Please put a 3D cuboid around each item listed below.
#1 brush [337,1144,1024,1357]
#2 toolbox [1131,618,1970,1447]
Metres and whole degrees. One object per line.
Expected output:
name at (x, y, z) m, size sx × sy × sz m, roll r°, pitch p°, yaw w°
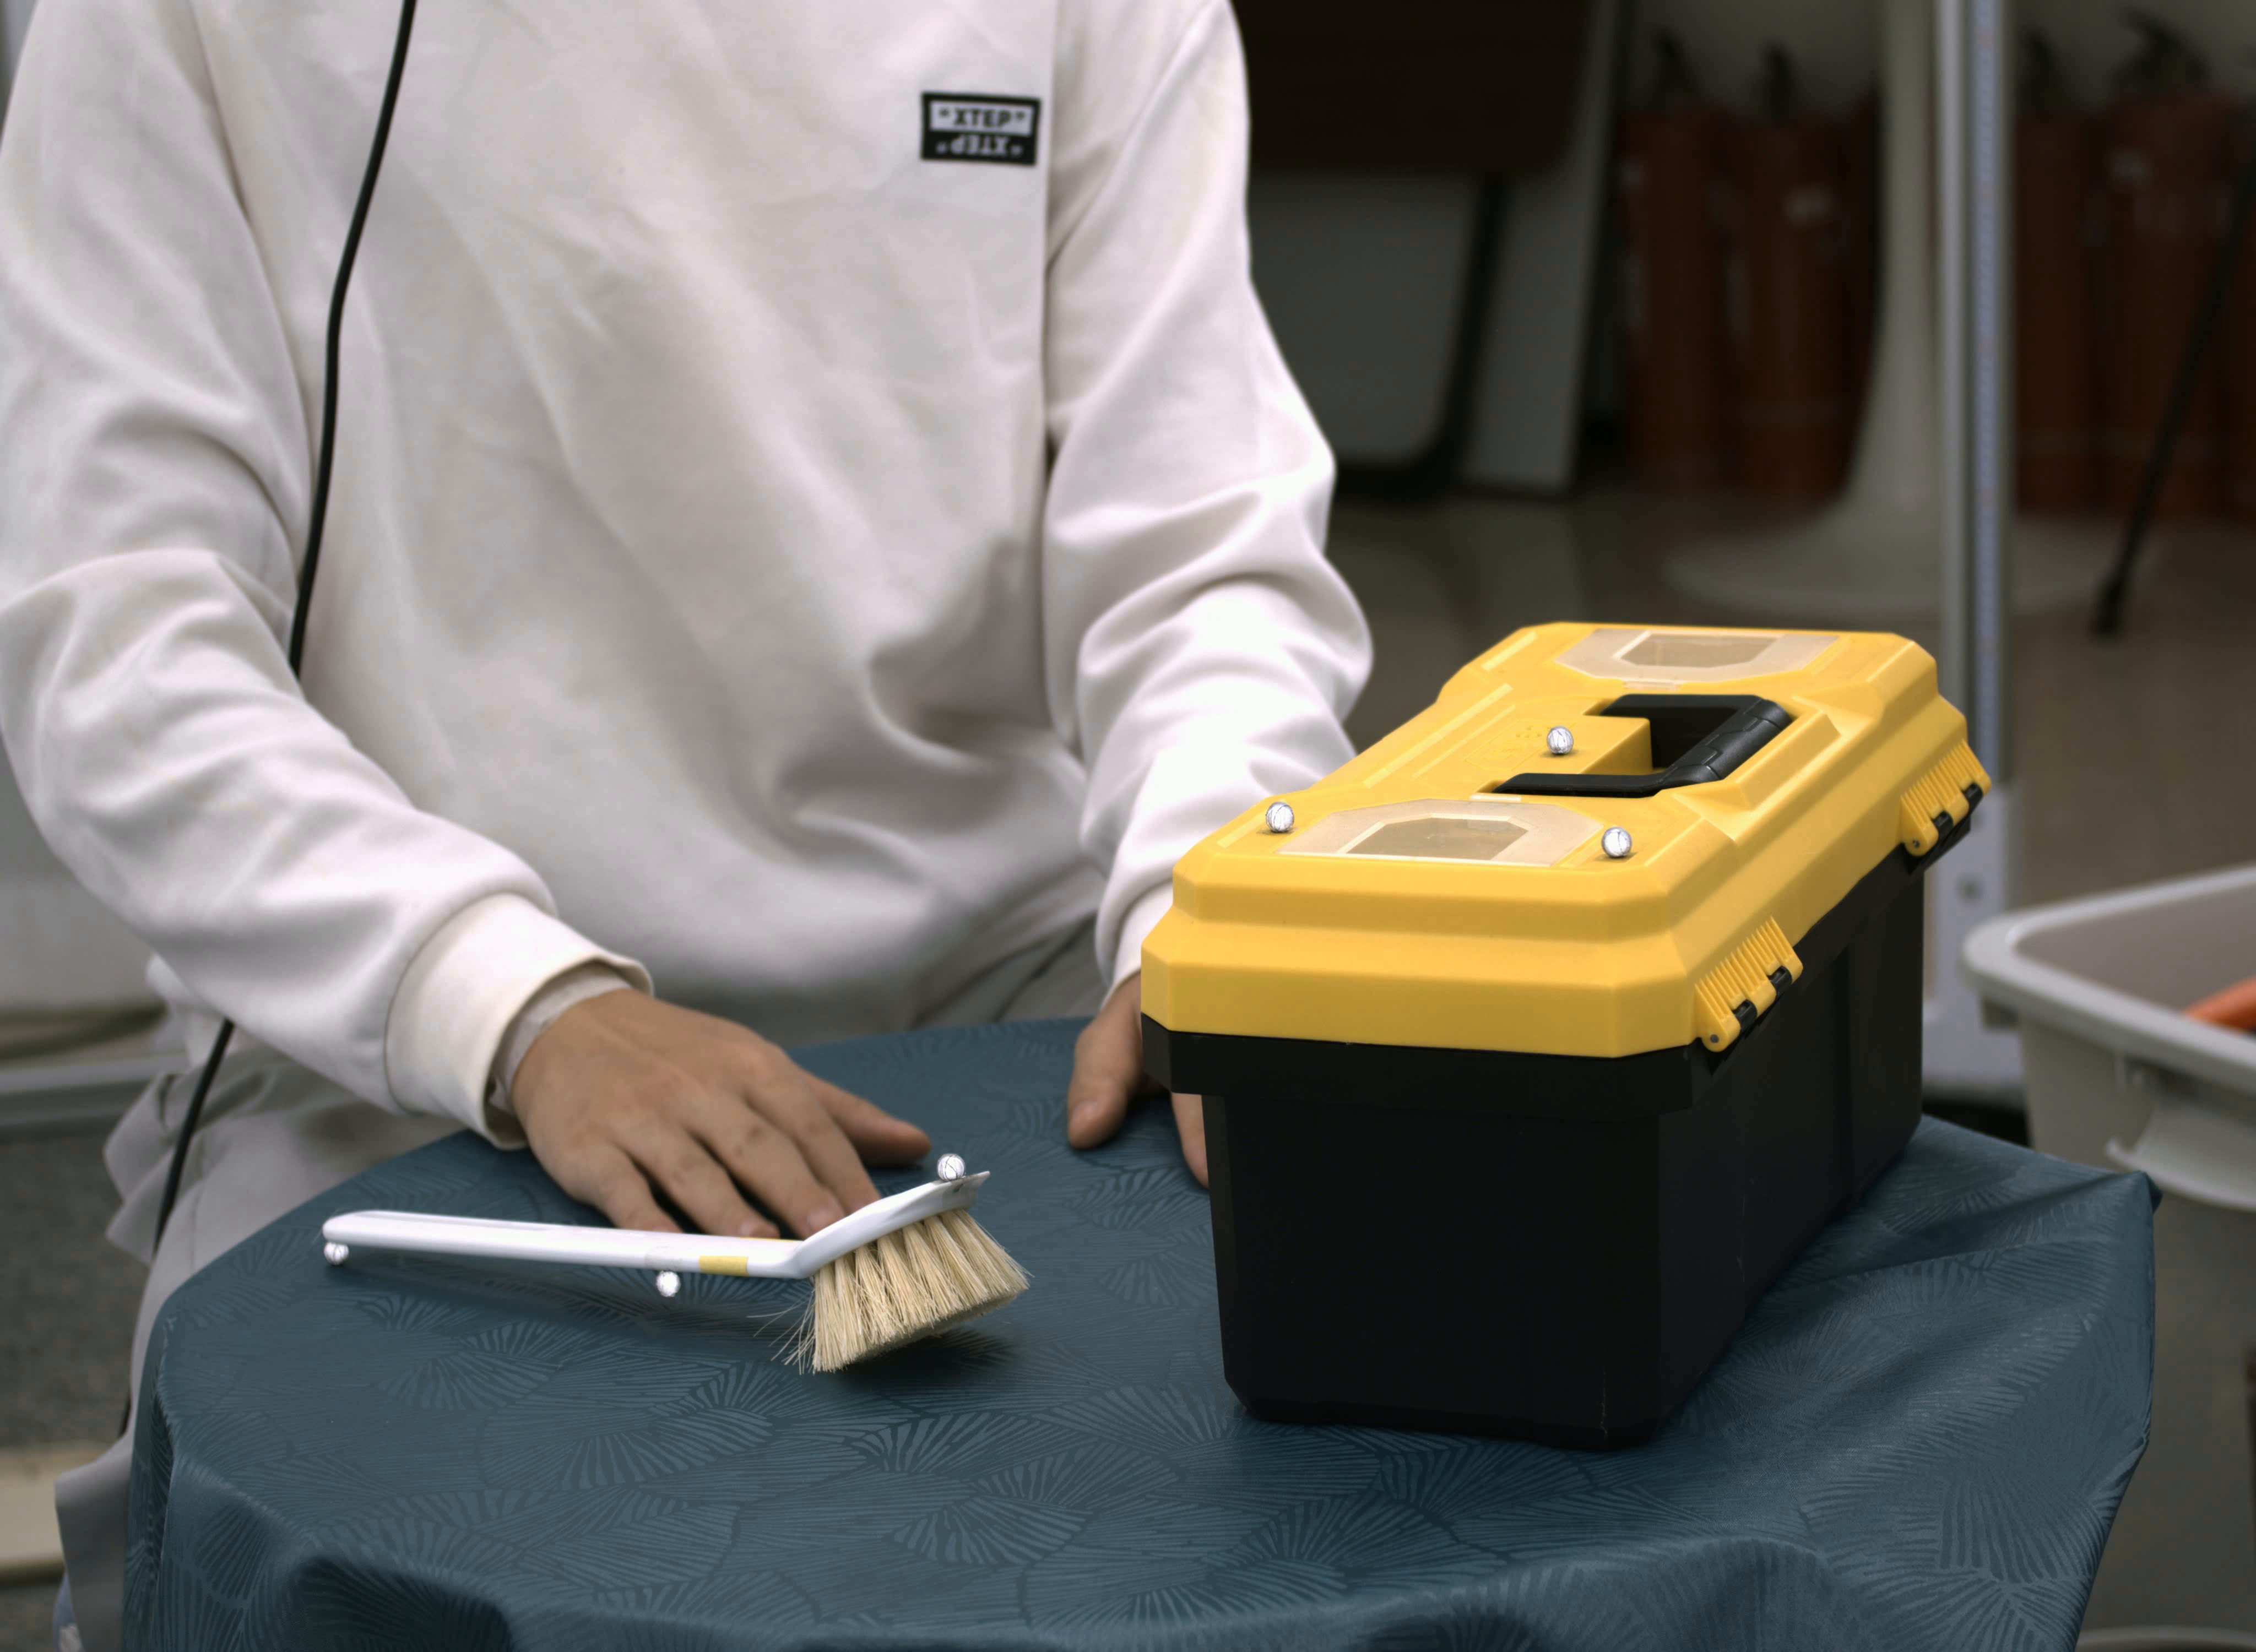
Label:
brush at (-0.144, 0.147, 1.683) m, size 0.268 × 0.057 × 0.067 m, roll -13°, pitch -14°, yaw 36°
toolbox at (0.139, 0.053, 1.645) m, size 0.181 × 0.175 × 0.347 m, roll 3°, pitch 14°, yaw 23°
